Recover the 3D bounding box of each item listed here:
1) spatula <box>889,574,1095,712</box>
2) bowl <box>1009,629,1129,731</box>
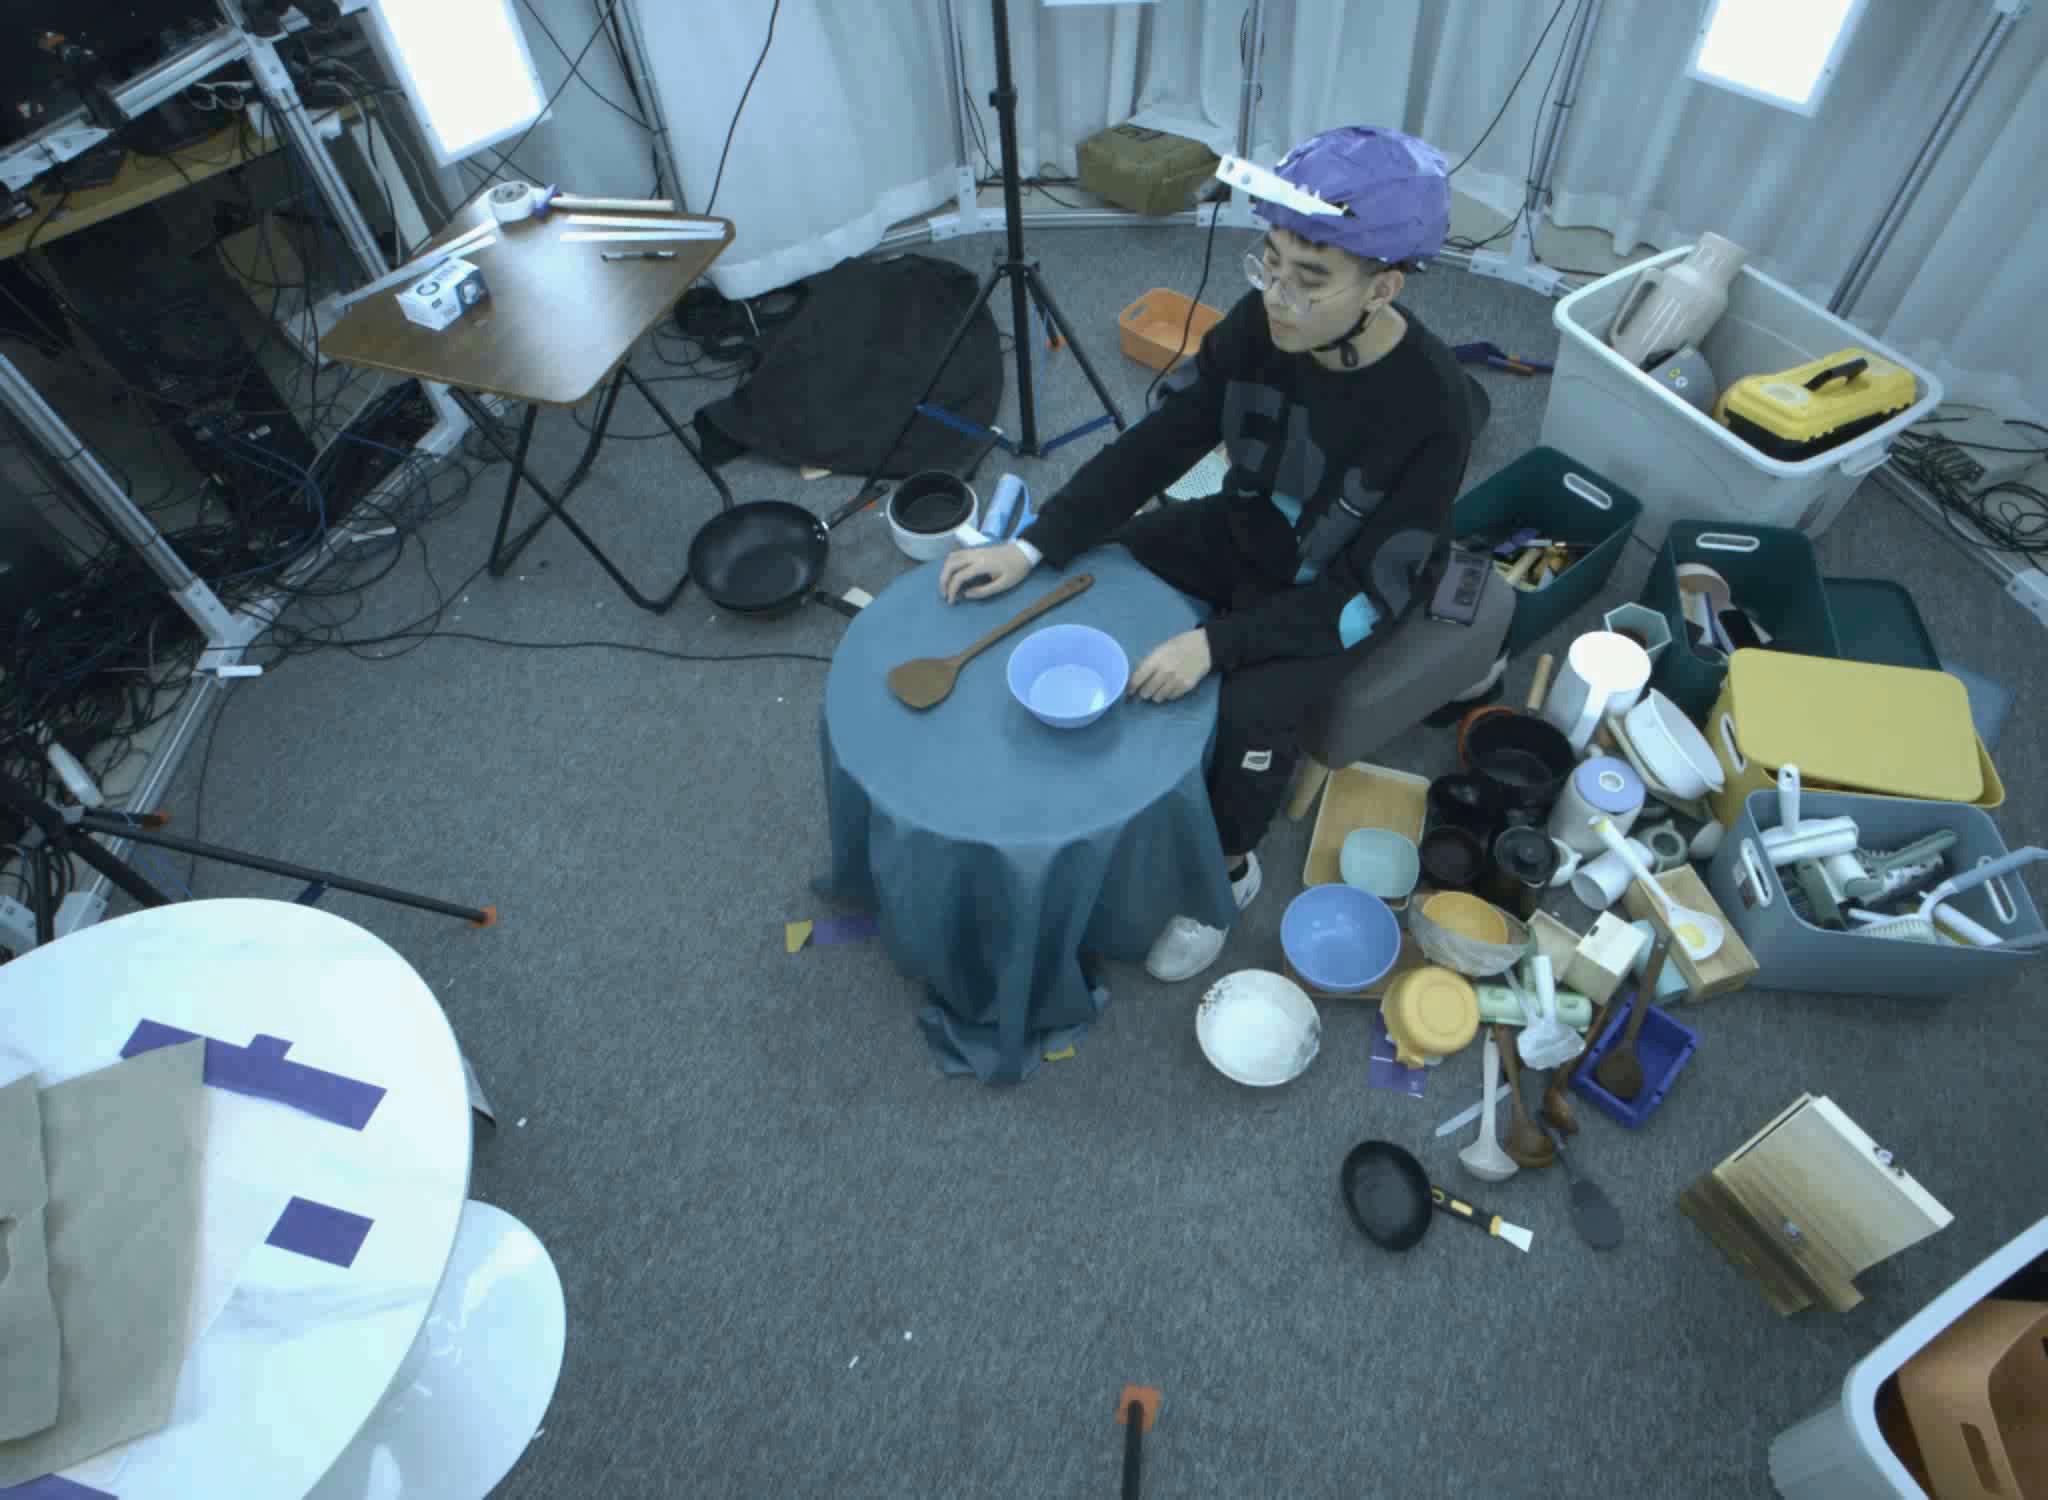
[{"bbox_3d":[-0.039,-0.179,1.916,0.389,0.016,0.094,-35,61,-21],"label":"spatula"},{"bbox_3d":[0.066,-0.093,1.818,0.176,0.071,0.174,0,54,1],"label":"bowl"}]
